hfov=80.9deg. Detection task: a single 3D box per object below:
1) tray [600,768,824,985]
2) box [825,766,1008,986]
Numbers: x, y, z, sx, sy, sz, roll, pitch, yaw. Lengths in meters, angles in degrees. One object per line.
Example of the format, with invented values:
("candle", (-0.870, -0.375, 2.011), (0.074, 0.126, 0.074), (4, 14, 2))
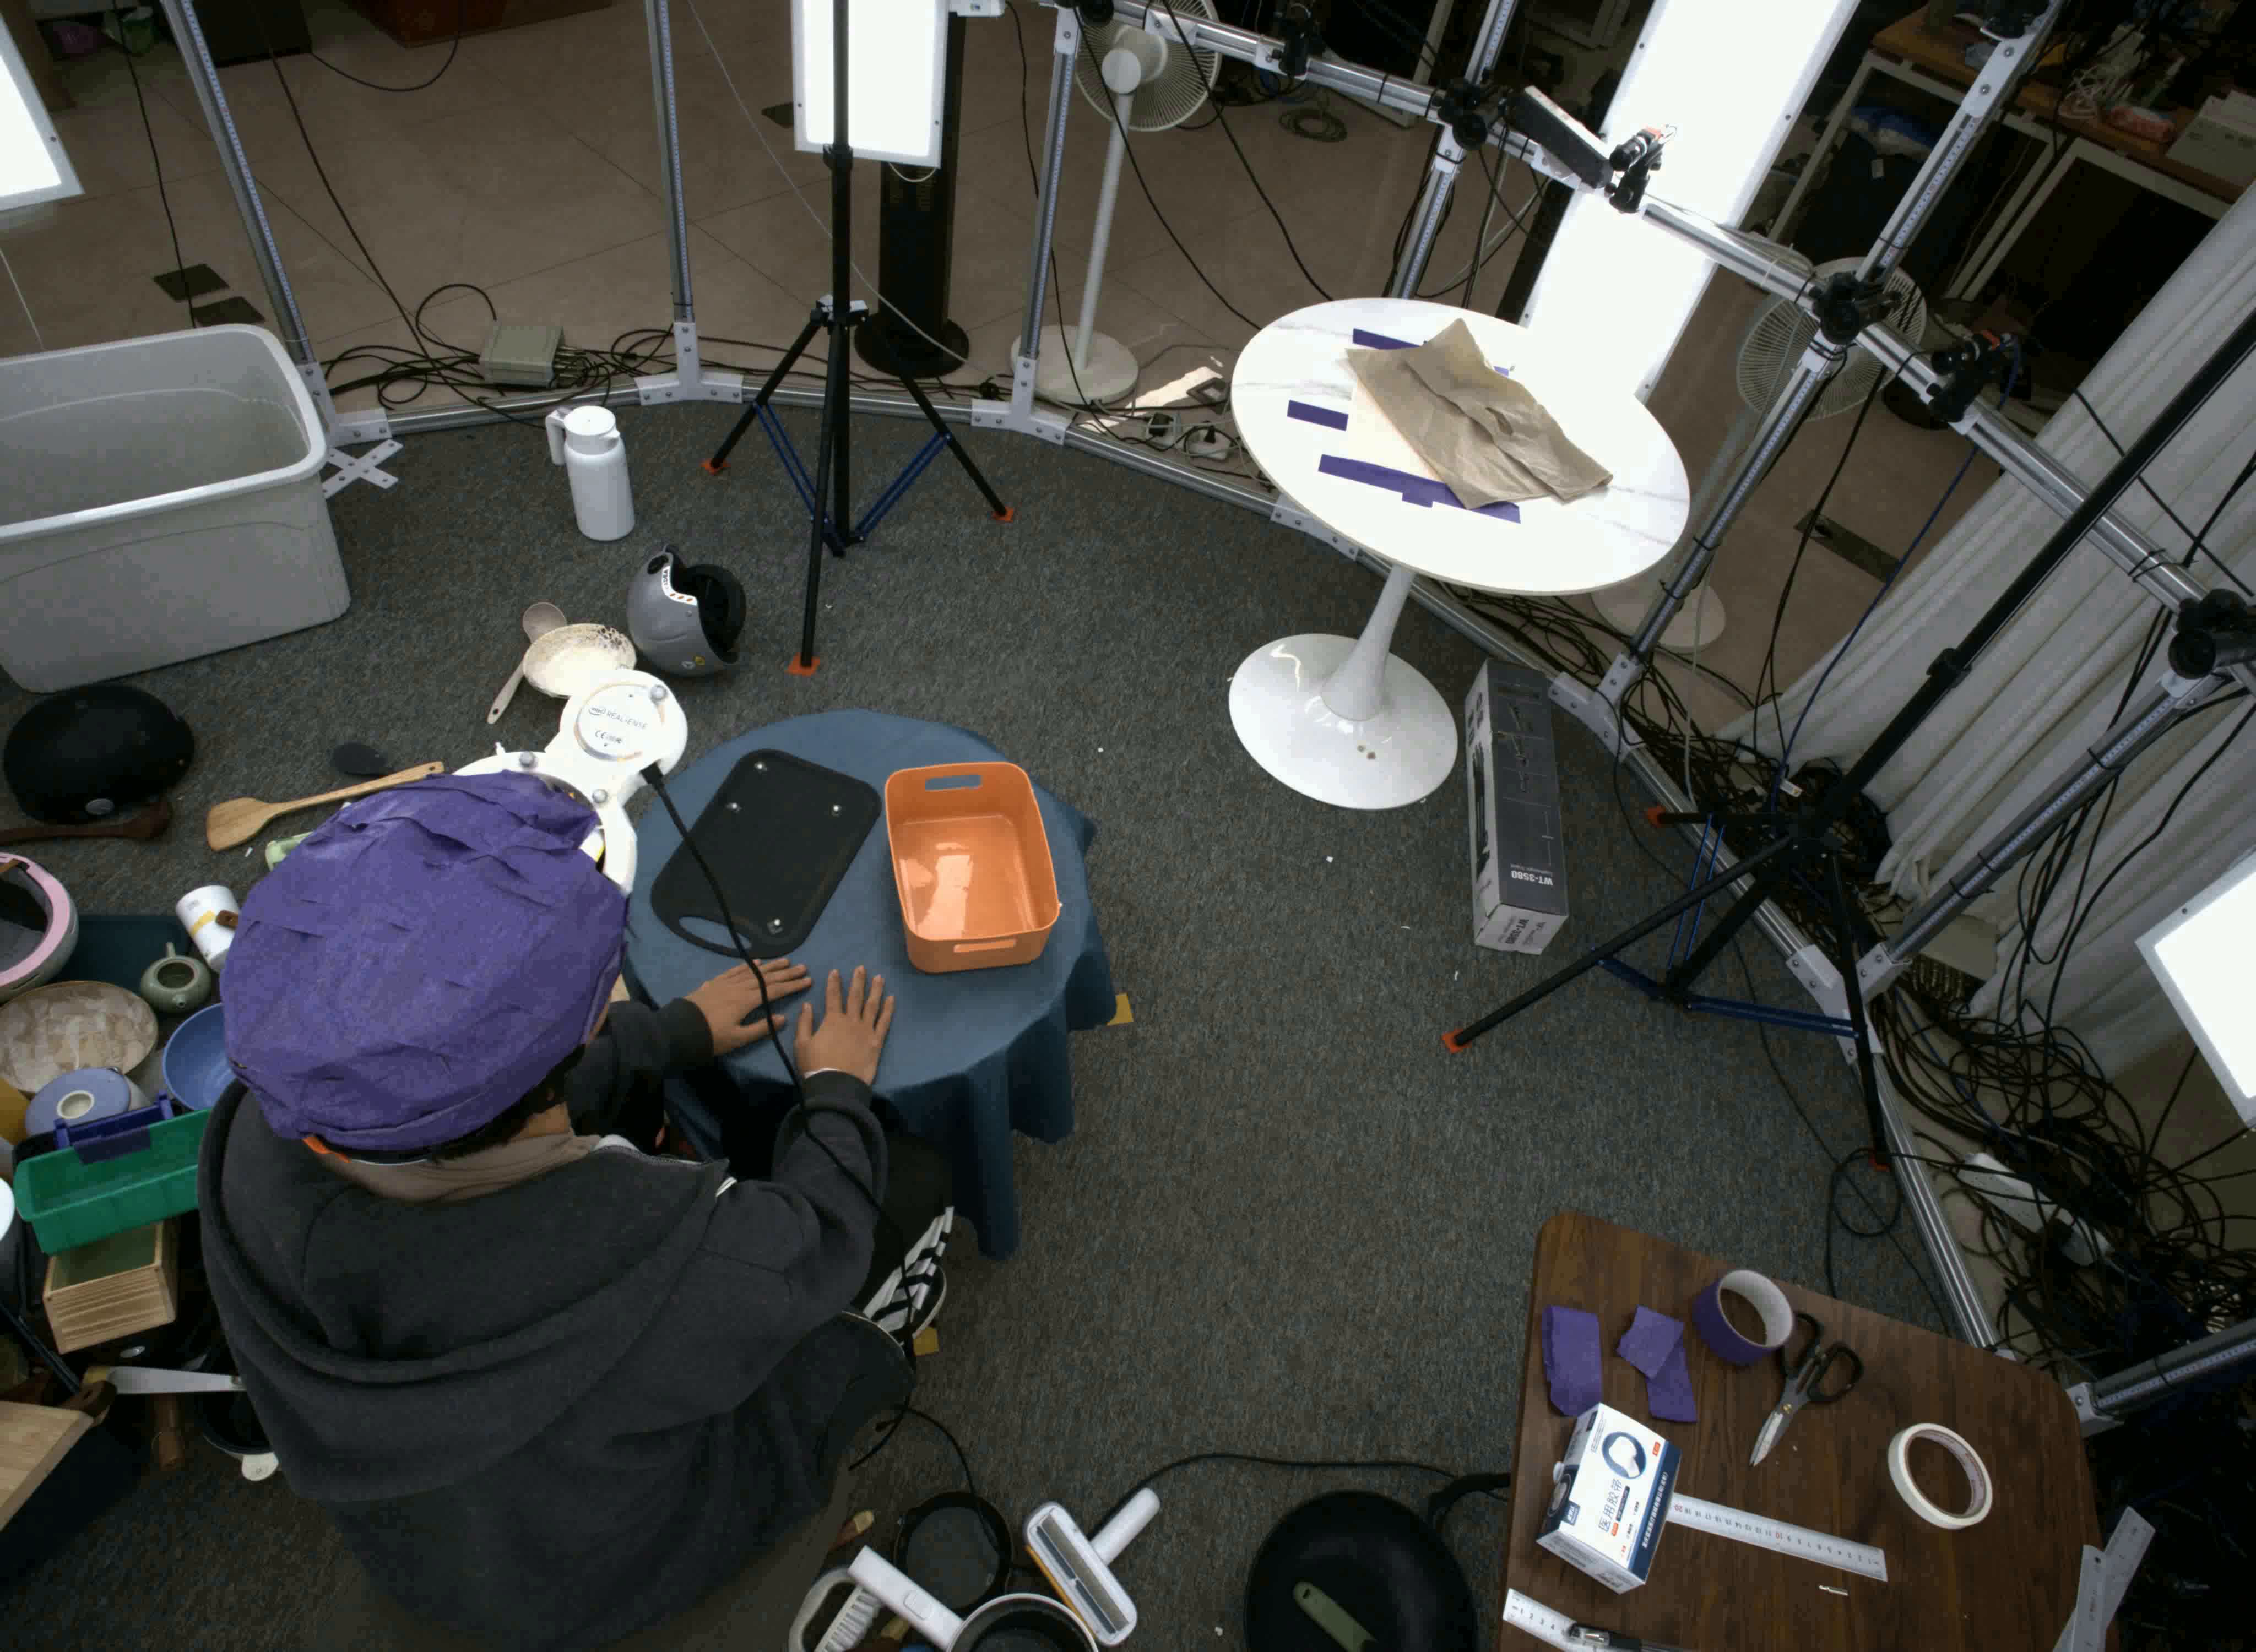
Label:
("tray", (-0.533, 0.059, 1.653), (0.209, 0.010, 0.321), (18, 52, -1))
("box", (-0.273, 0.065, 1.652), (0.200, 0.104, 0.266), (-8, 56, -20))
